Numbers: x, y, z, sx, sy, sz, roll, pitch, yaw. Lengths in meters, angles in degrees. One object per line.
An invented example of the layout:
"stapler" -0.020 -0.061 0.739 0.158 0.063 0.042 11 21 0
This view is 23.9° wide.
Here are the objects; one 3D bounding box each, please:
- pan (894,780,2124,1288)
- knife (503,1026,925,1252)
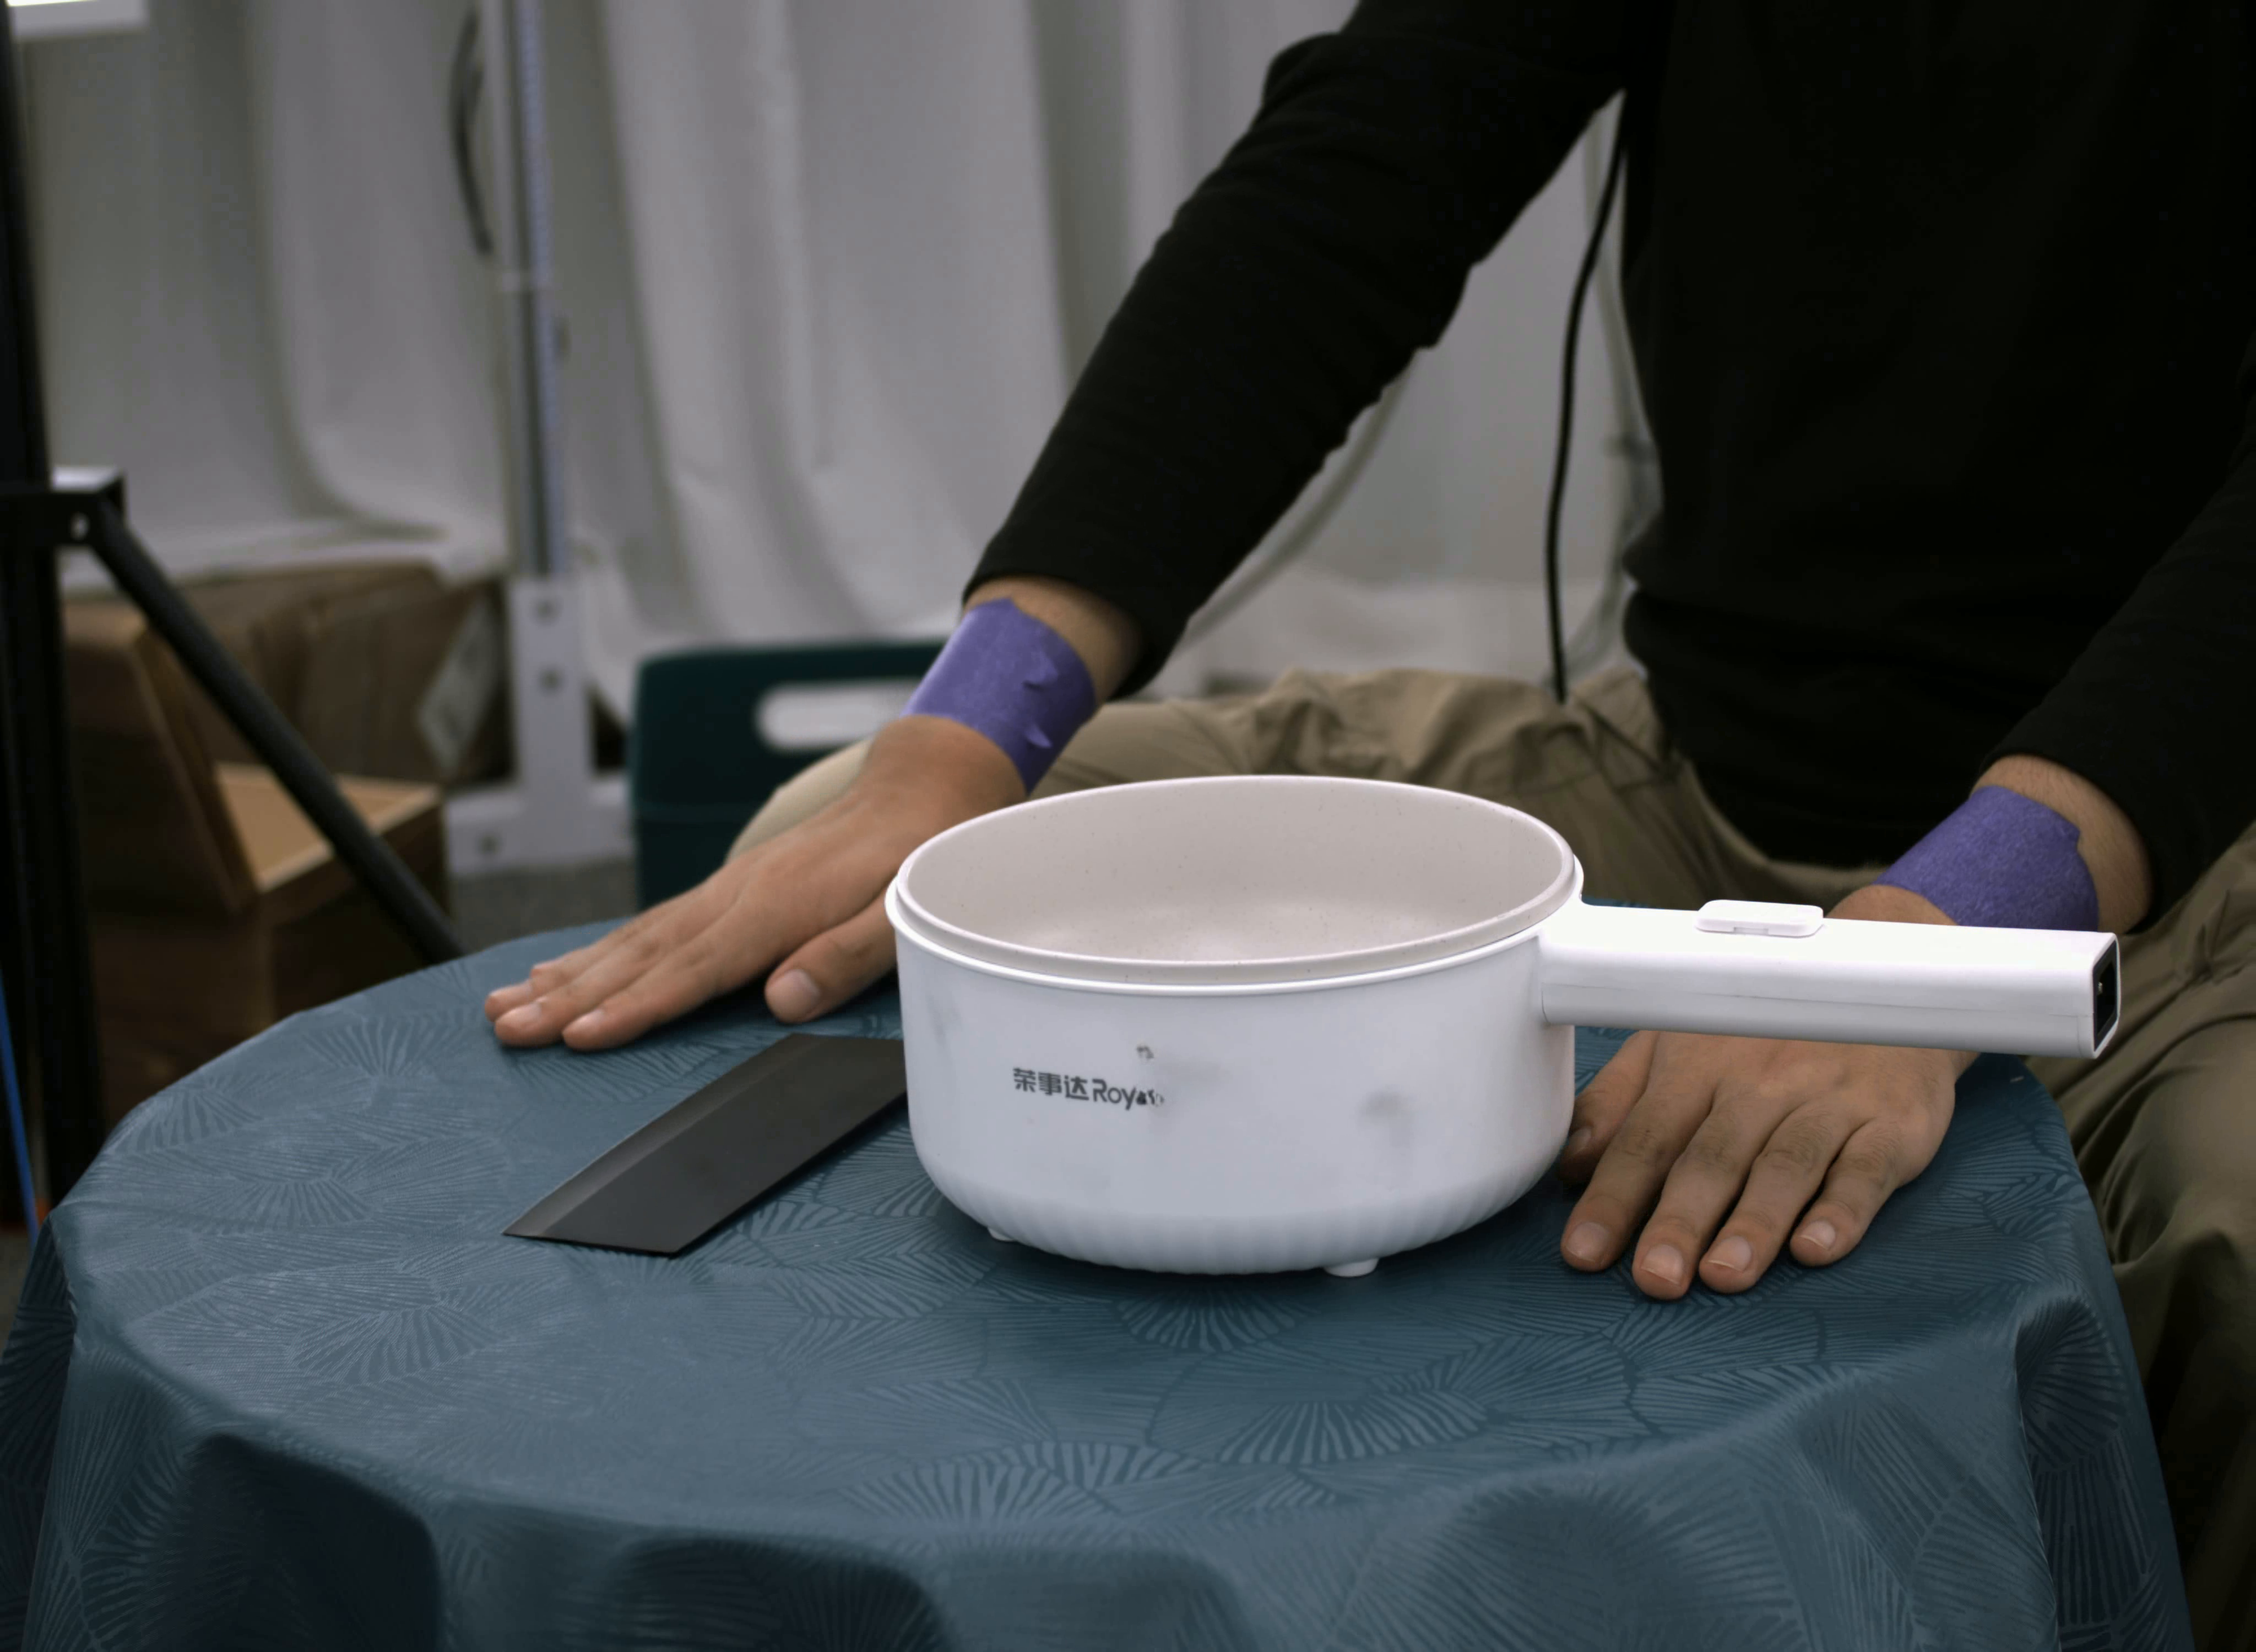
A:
"pan" 0.104 0.068 1.504 0.360 0.102 0.198 6 17 24
"knife" -0.087 0.077 1.654 0.082 0.021 0.297 7 20 32
